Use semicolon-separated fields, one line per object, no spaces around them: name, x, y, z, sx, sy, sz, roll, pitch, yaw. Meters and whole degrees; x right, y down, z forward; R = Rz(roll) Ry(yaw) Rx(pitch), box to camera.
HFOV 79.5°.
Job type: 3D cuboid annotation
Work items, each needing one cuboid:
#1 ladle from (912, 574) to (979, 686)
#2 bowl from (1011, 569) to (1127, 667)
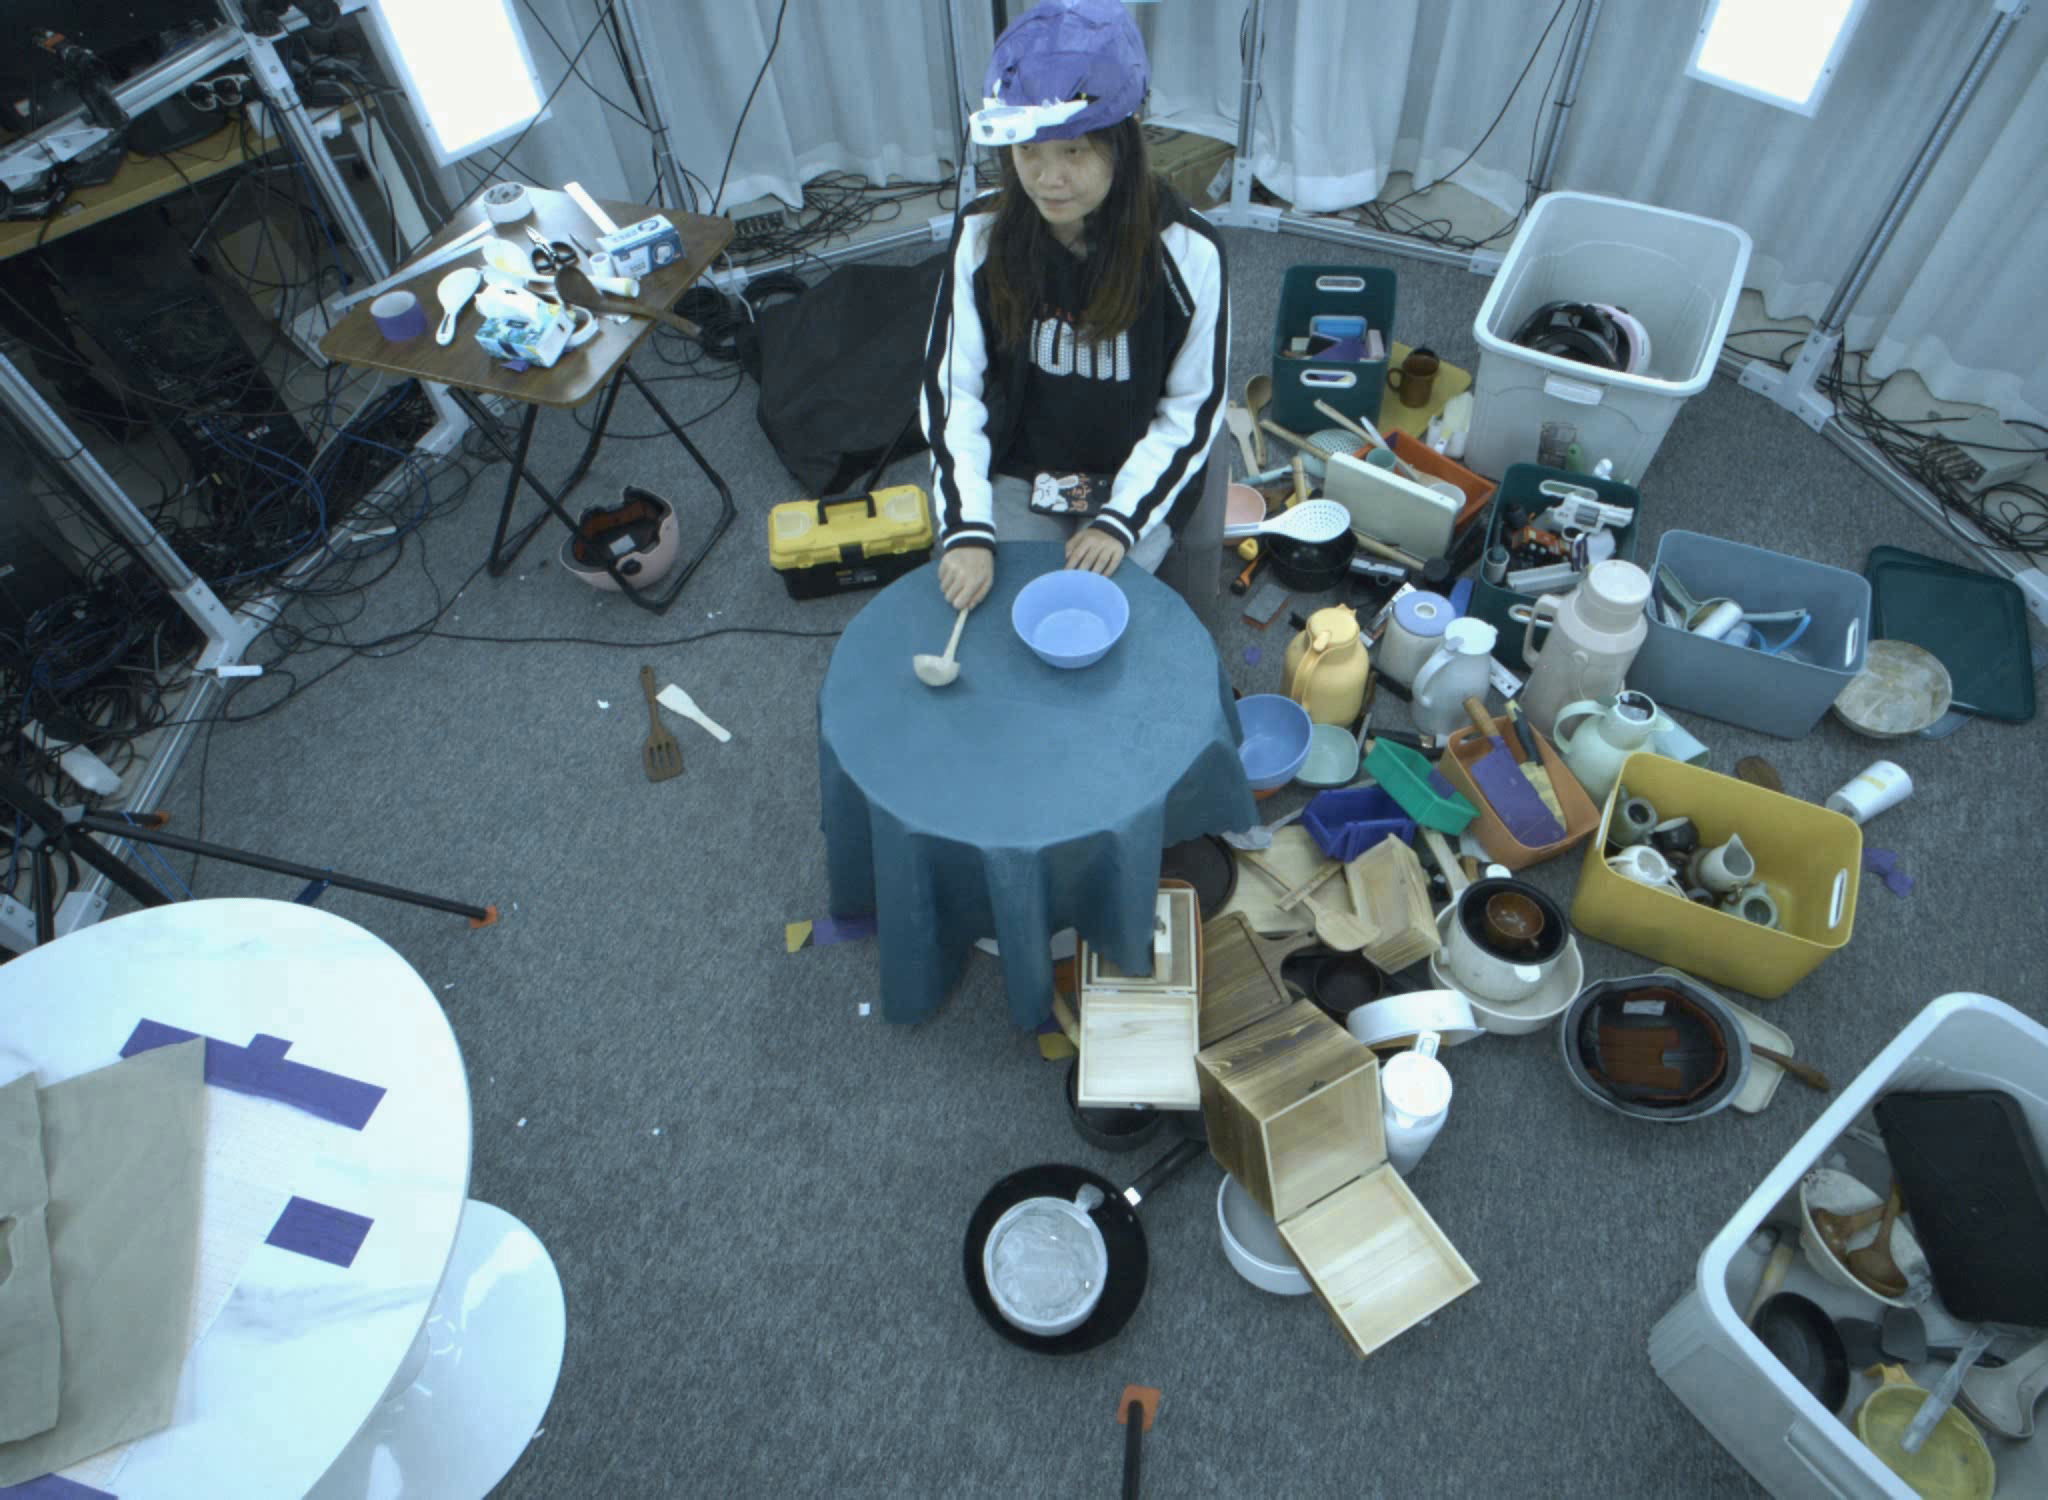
ladle;-0.111;-0.207;1.894;0.071;0.074;0.253;6;55;13
bowl;0.069;-0.192;1.878;0.176;0.071;0.174;0;55;1
